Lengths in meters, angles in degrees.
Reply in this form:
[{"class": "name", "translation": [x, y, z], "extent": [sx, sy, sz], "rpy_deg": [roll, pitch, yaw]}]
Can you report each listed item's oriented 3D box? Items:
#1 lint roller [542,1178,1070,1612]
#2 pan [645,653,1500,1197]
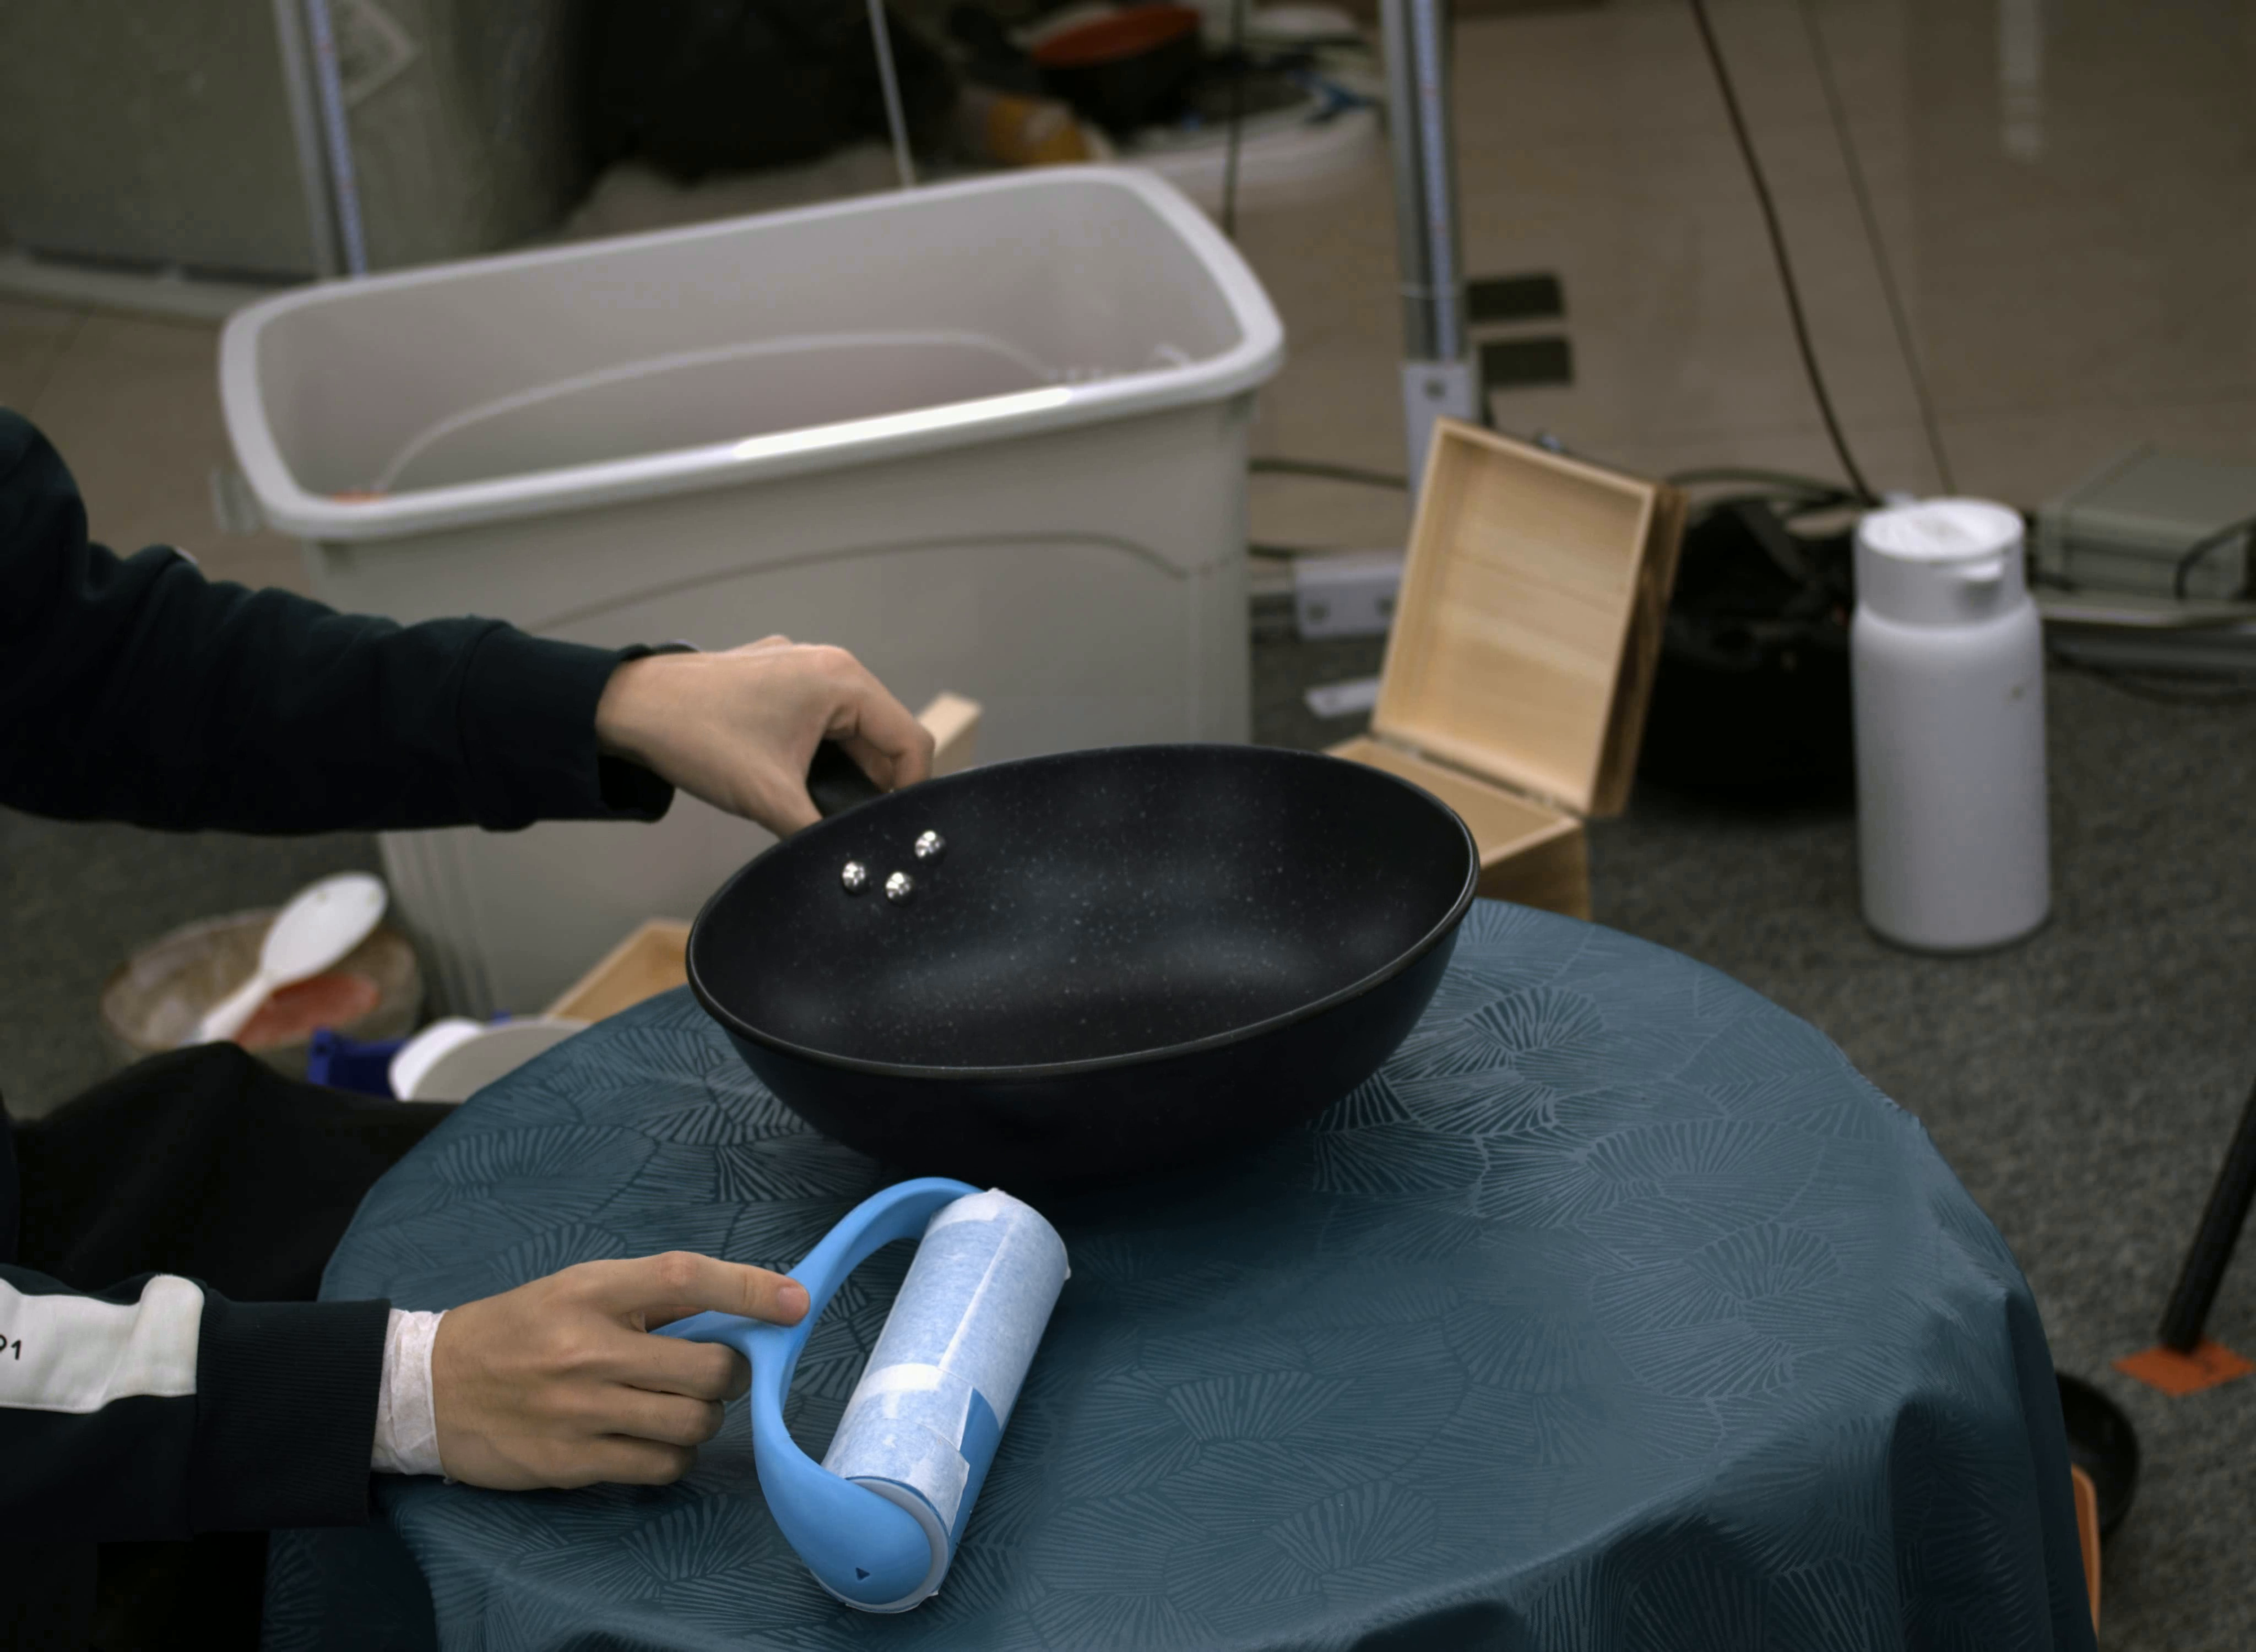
[{"class": "lint roller", "translation": [-0.121, 0.198, 1.981], "extent": [0.180, 0.069, 0.225], "rpy_deg": [-1, 28, 9]}, {"class": "pan", "translation": [-0.057, 0.037, 2.250], "extent": [0.308, 0.113, 0.472], "rpy_deg": [-20, 26, -30]}]
